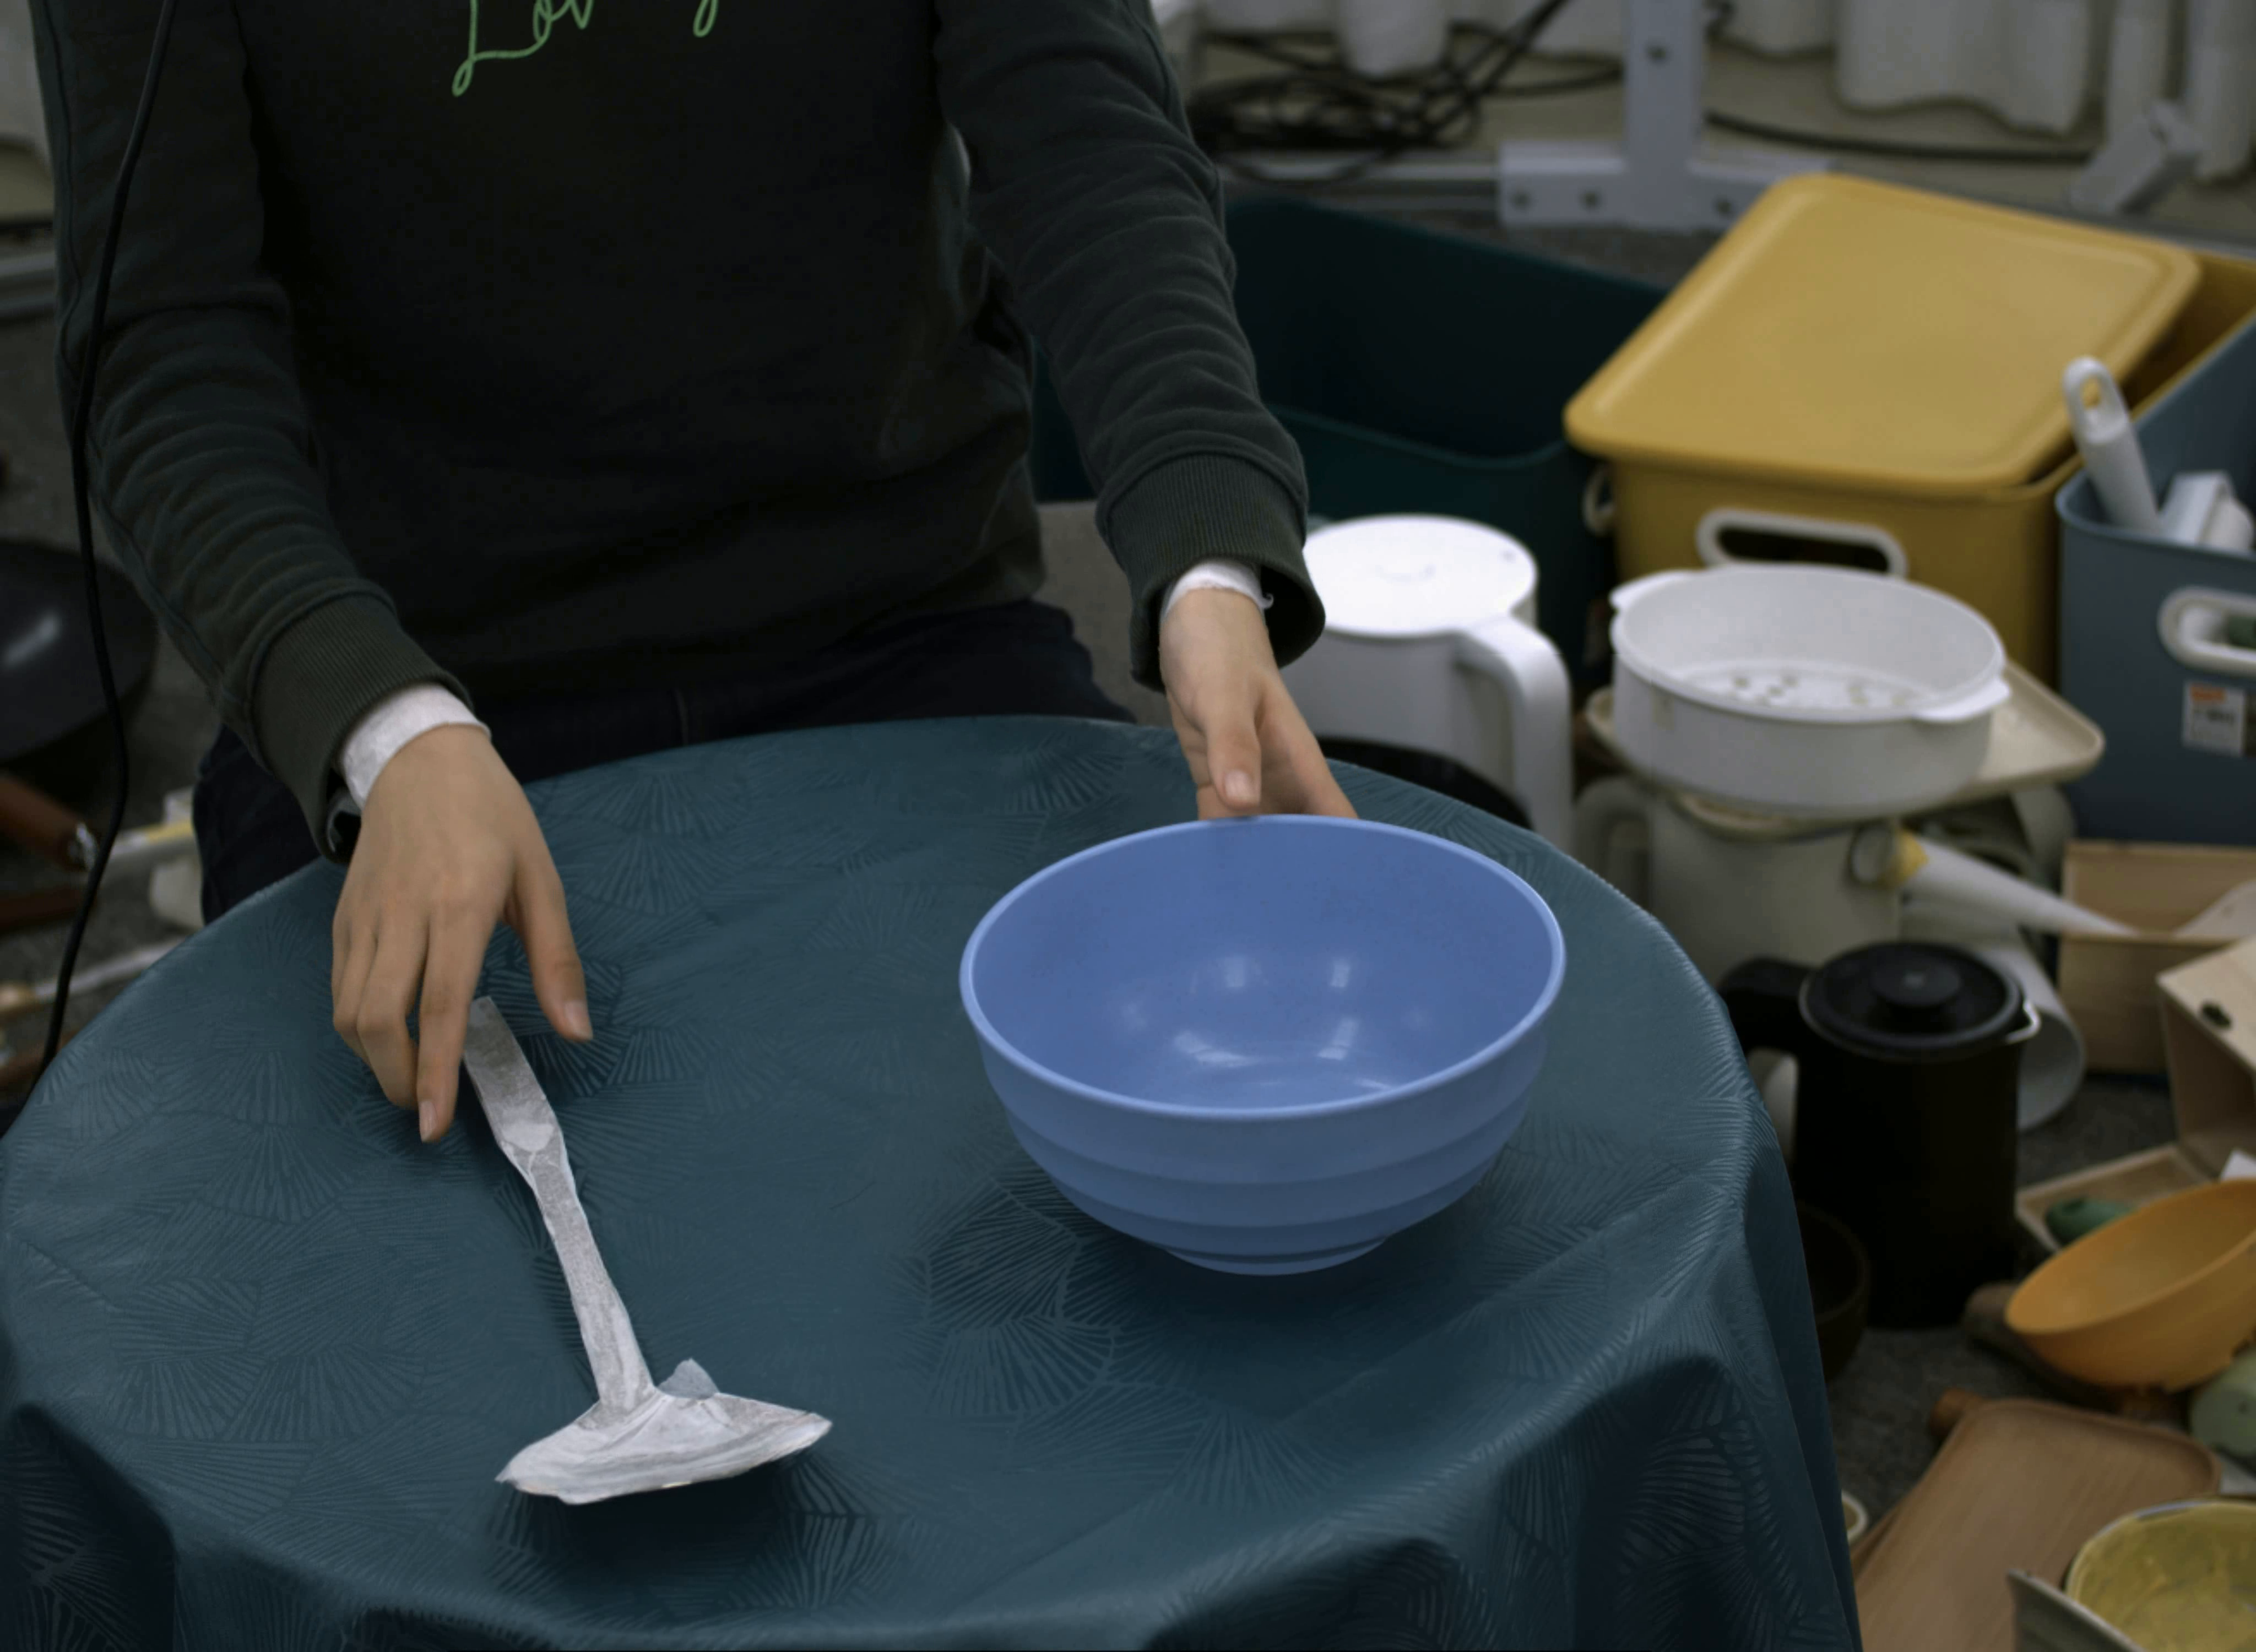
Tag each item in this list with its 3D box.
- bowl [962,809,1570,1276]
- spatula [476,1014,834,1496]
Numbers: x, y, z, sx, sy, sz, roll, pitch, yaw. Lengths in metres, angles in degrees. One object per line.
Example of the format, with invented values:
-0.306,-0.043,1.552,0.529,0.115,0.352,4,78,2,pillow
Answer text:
0.046,0.082,1.830,0.195,0.094,0.199,-2,28,1,bowl
-0.177,0.130,1.820,0.099,0.044,0.368,-11,29,-12,spatula
